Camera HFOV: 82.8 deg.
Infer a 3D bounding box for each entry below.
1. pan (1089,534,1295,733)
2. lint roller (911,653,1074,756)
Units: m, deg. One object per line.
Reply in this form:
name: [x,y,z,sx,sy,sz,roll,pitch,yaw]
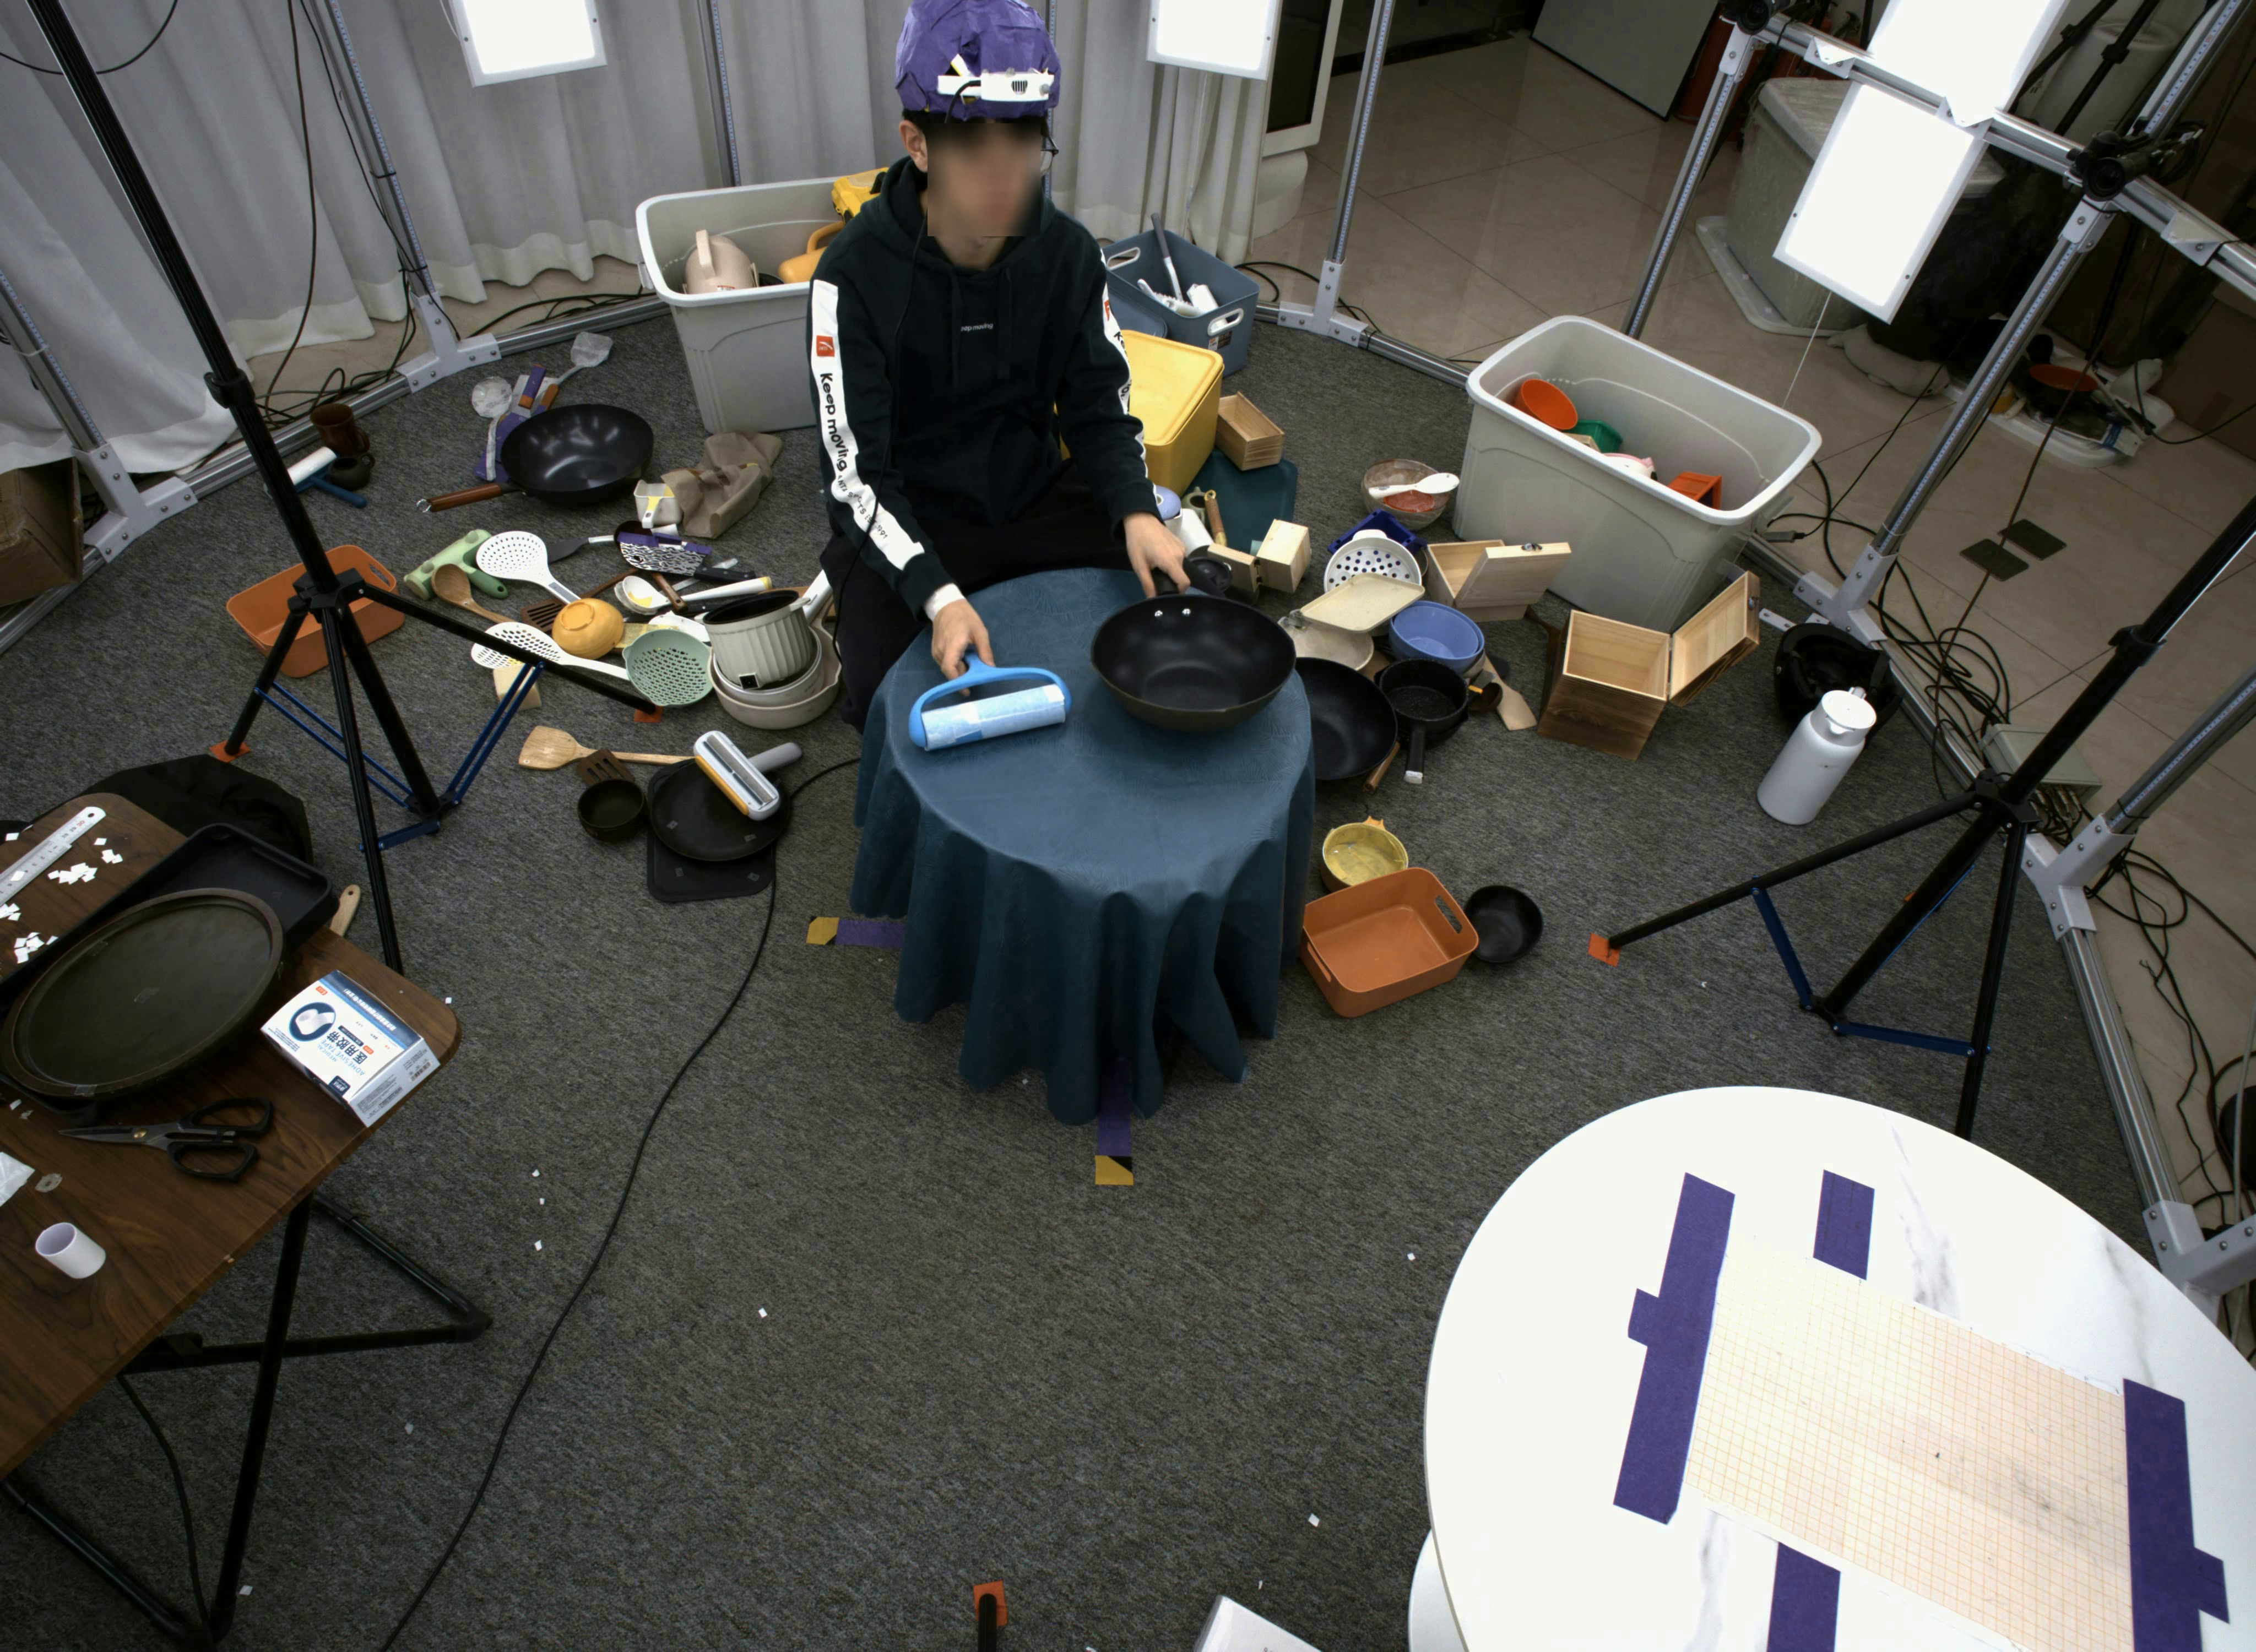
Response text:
pan: [0.071,-0.275,1.864,0.288,0.085,0.475,-6,42,-8]
lint roller: [-0.206,-0.191,1.783,0.229,0.066,0.184,-18,55,-16]
